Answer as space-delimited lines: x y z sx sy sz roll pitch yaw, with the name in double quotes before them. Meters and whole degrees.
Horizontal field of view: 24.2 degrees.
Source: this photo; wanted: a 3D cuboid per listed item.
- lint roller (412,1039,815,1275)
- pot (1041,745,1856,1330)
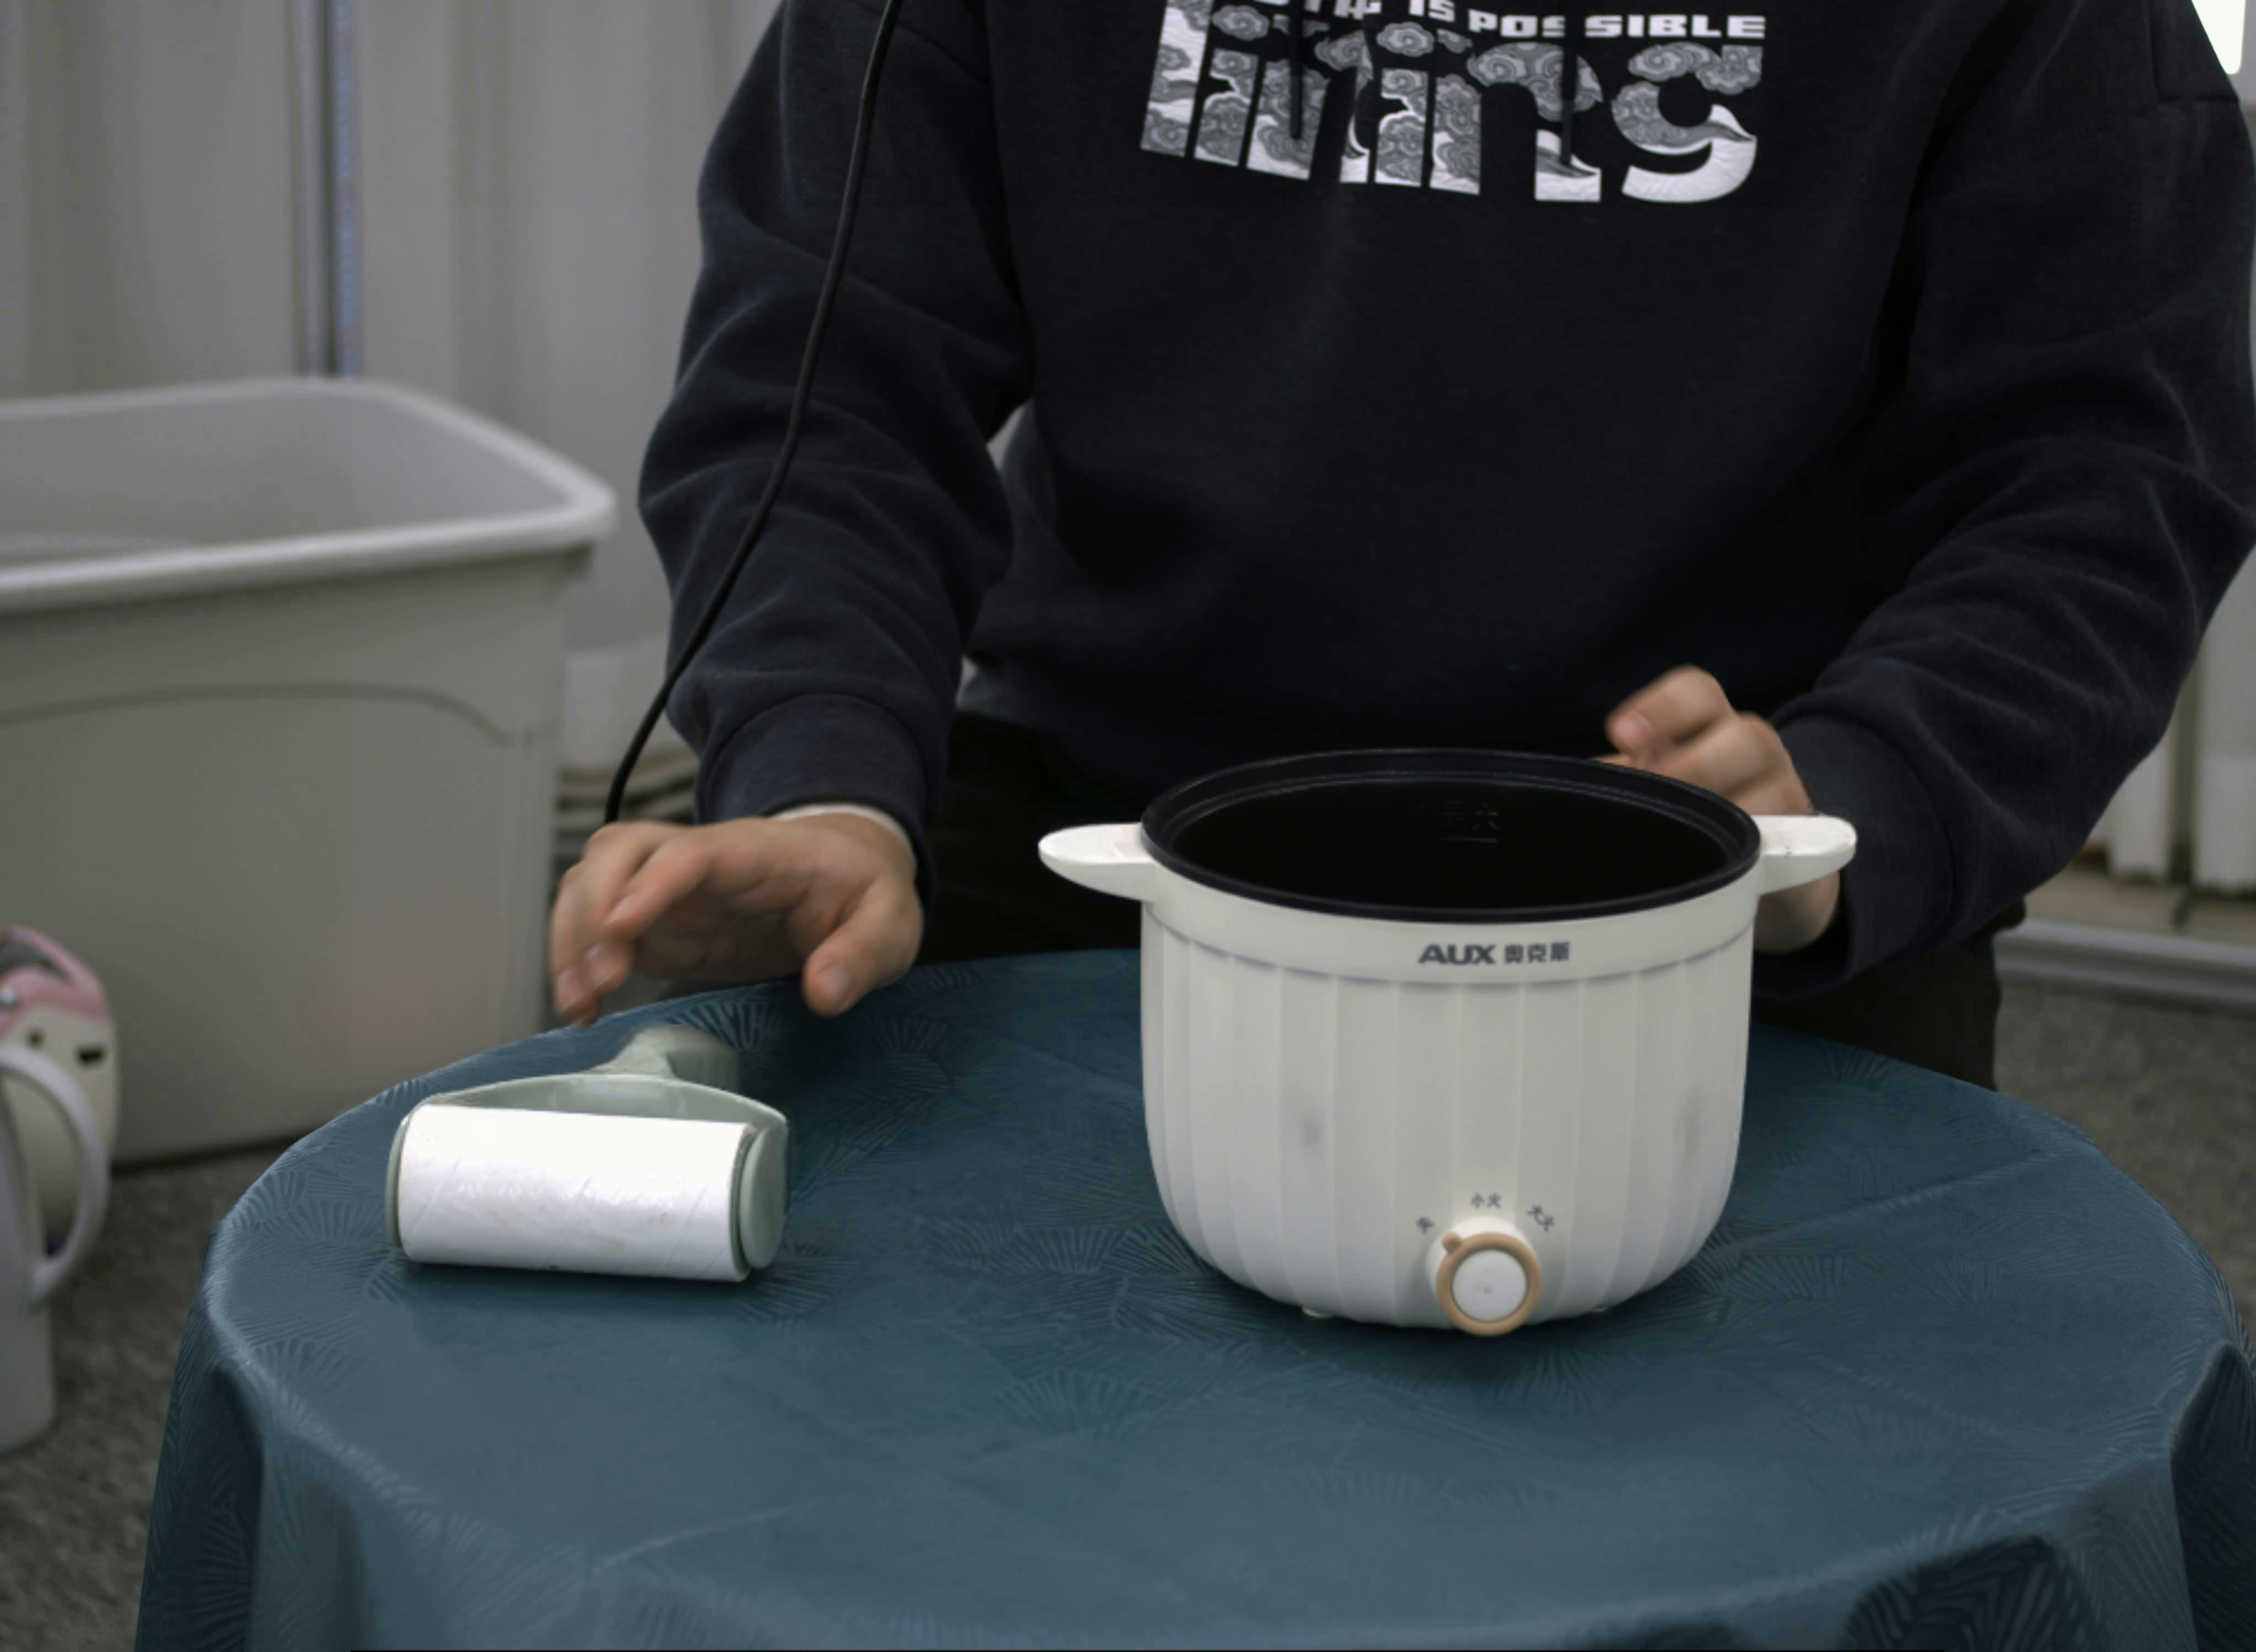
"lint roller" -0.141 0.092 1.615 0.116 0.049 0.197 0 13 9
"pot" 0.096 0.064 1.545 0.240 0.144 0.189 -2 13 -5
